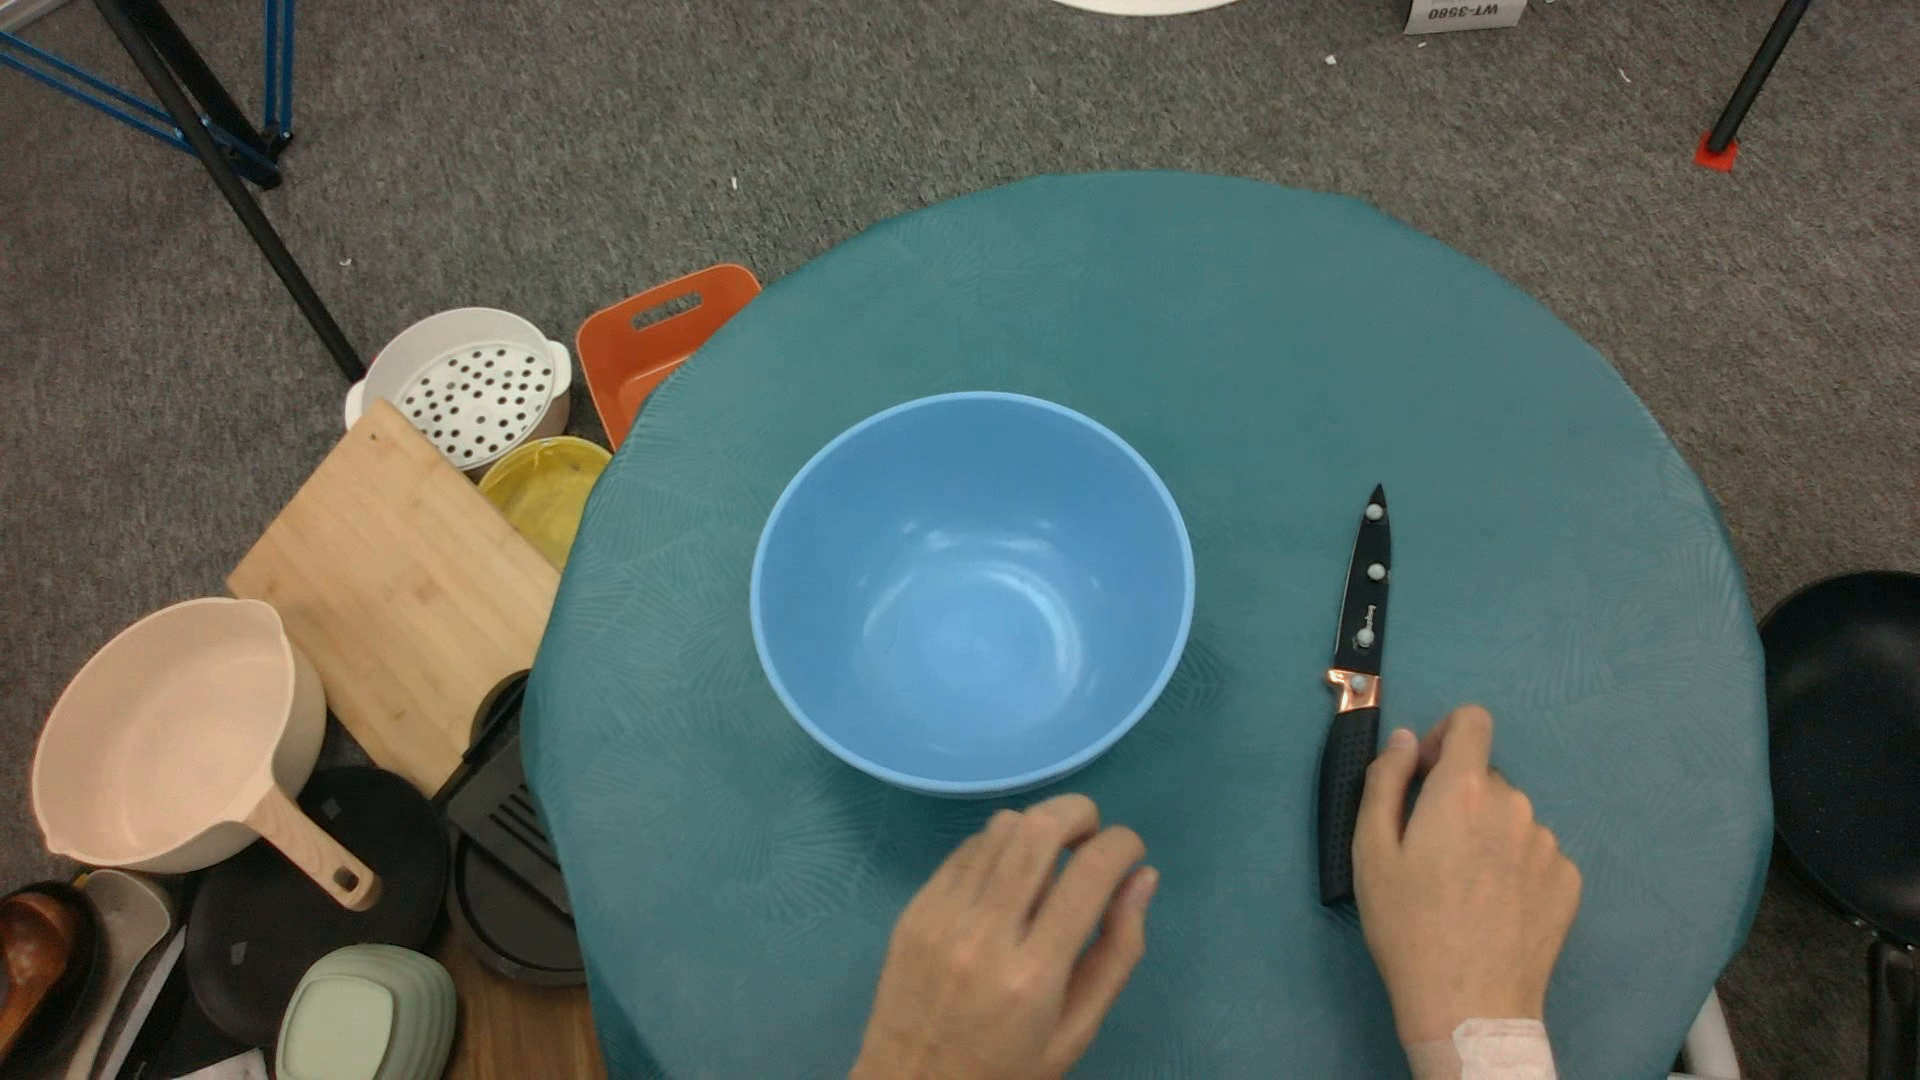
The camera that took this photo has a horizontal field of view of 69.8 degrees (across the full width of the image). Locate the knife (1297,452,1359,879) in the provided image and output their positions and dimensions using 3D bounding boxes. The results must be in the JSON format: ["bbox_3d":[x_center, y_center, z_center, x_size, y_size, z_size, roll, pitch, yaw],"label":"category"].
[{"bbox_3d":[0.180,0.053,0.667,0.026,0.017,0.226,5,61,12],"label":"knife"}]

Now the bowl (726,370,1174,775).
[{"bbox_3d":[-0.002,0.027,0.642,0.196,0.095,0.197,-2,60,3],"label":"bowl"}]
